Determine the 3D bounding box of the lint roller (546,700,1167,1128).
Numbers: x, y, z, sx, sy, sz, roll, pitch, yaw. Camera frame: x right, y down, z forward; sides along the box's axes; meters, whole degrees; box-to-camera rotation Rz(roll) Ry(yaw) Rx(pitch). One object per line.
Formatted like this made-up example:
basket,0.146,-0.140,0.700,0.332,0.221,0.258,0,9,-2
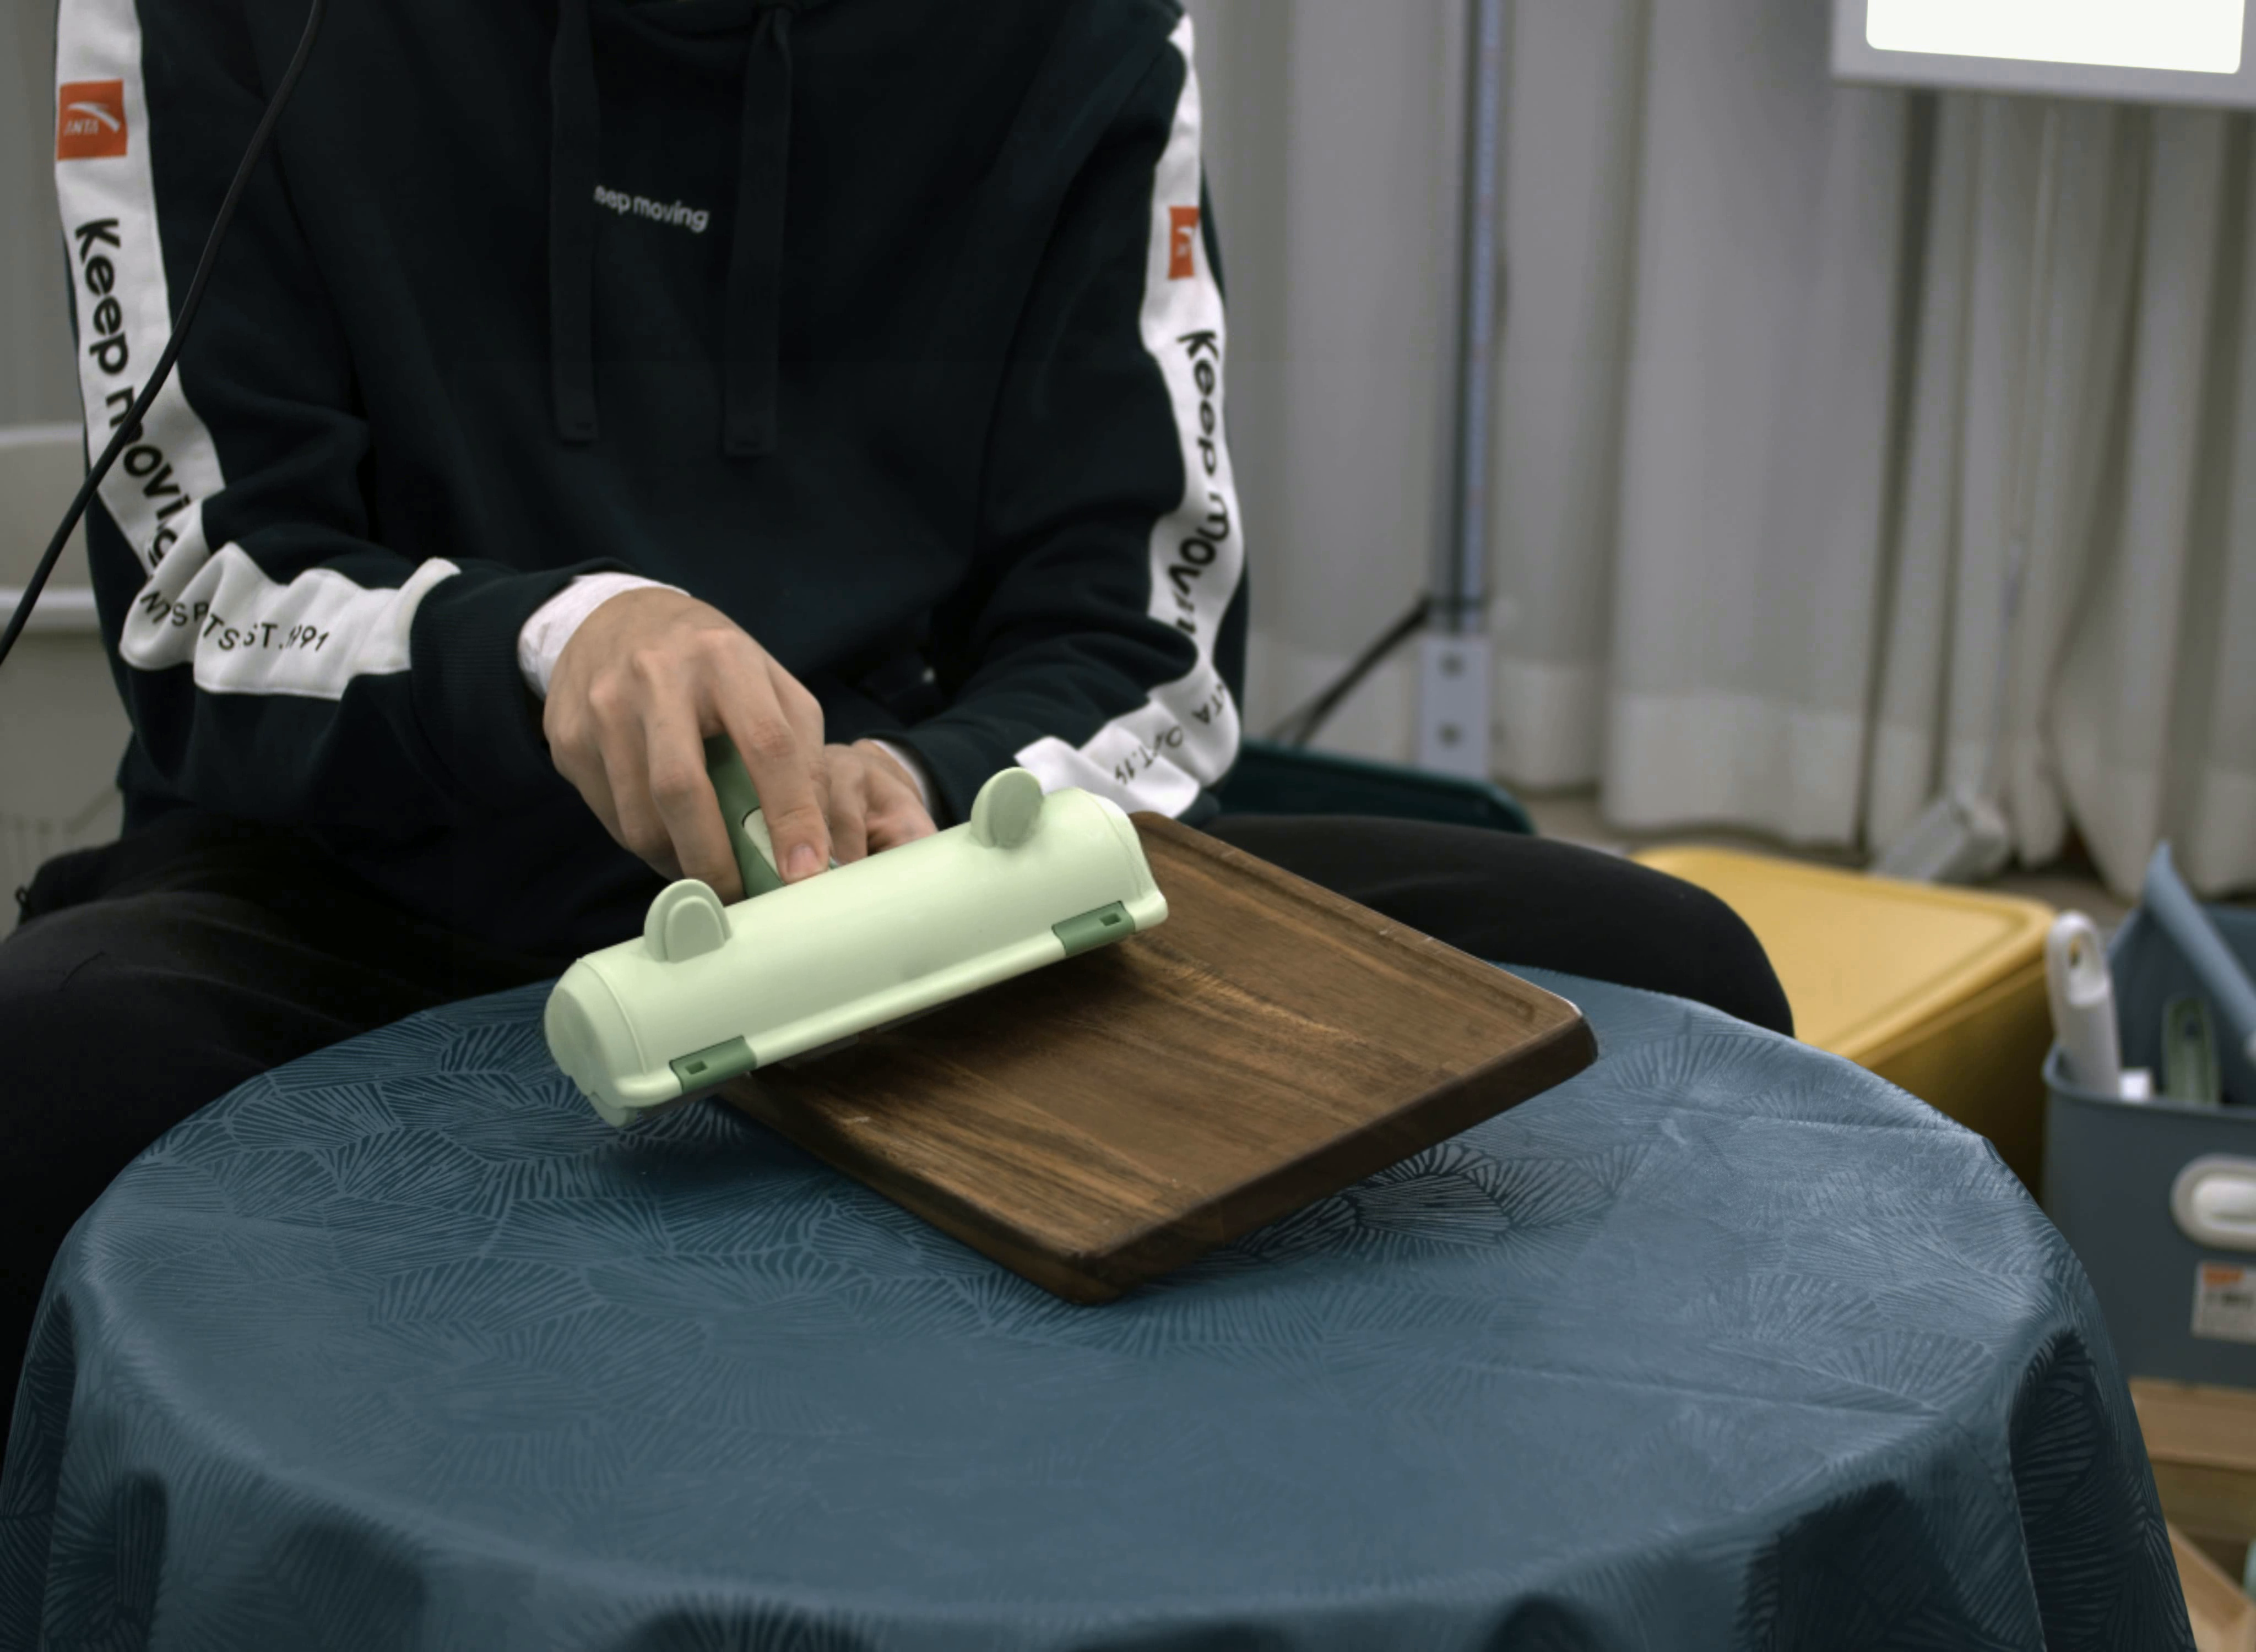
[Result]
lint roller,-0.113,0.000,1.684,0.199,0.083,0.181,-20,52,-24

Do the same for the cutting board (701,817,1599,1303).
cutting board,-0.030,0.055,1.694,0.201,0.023,0.347,-24,27,-28
